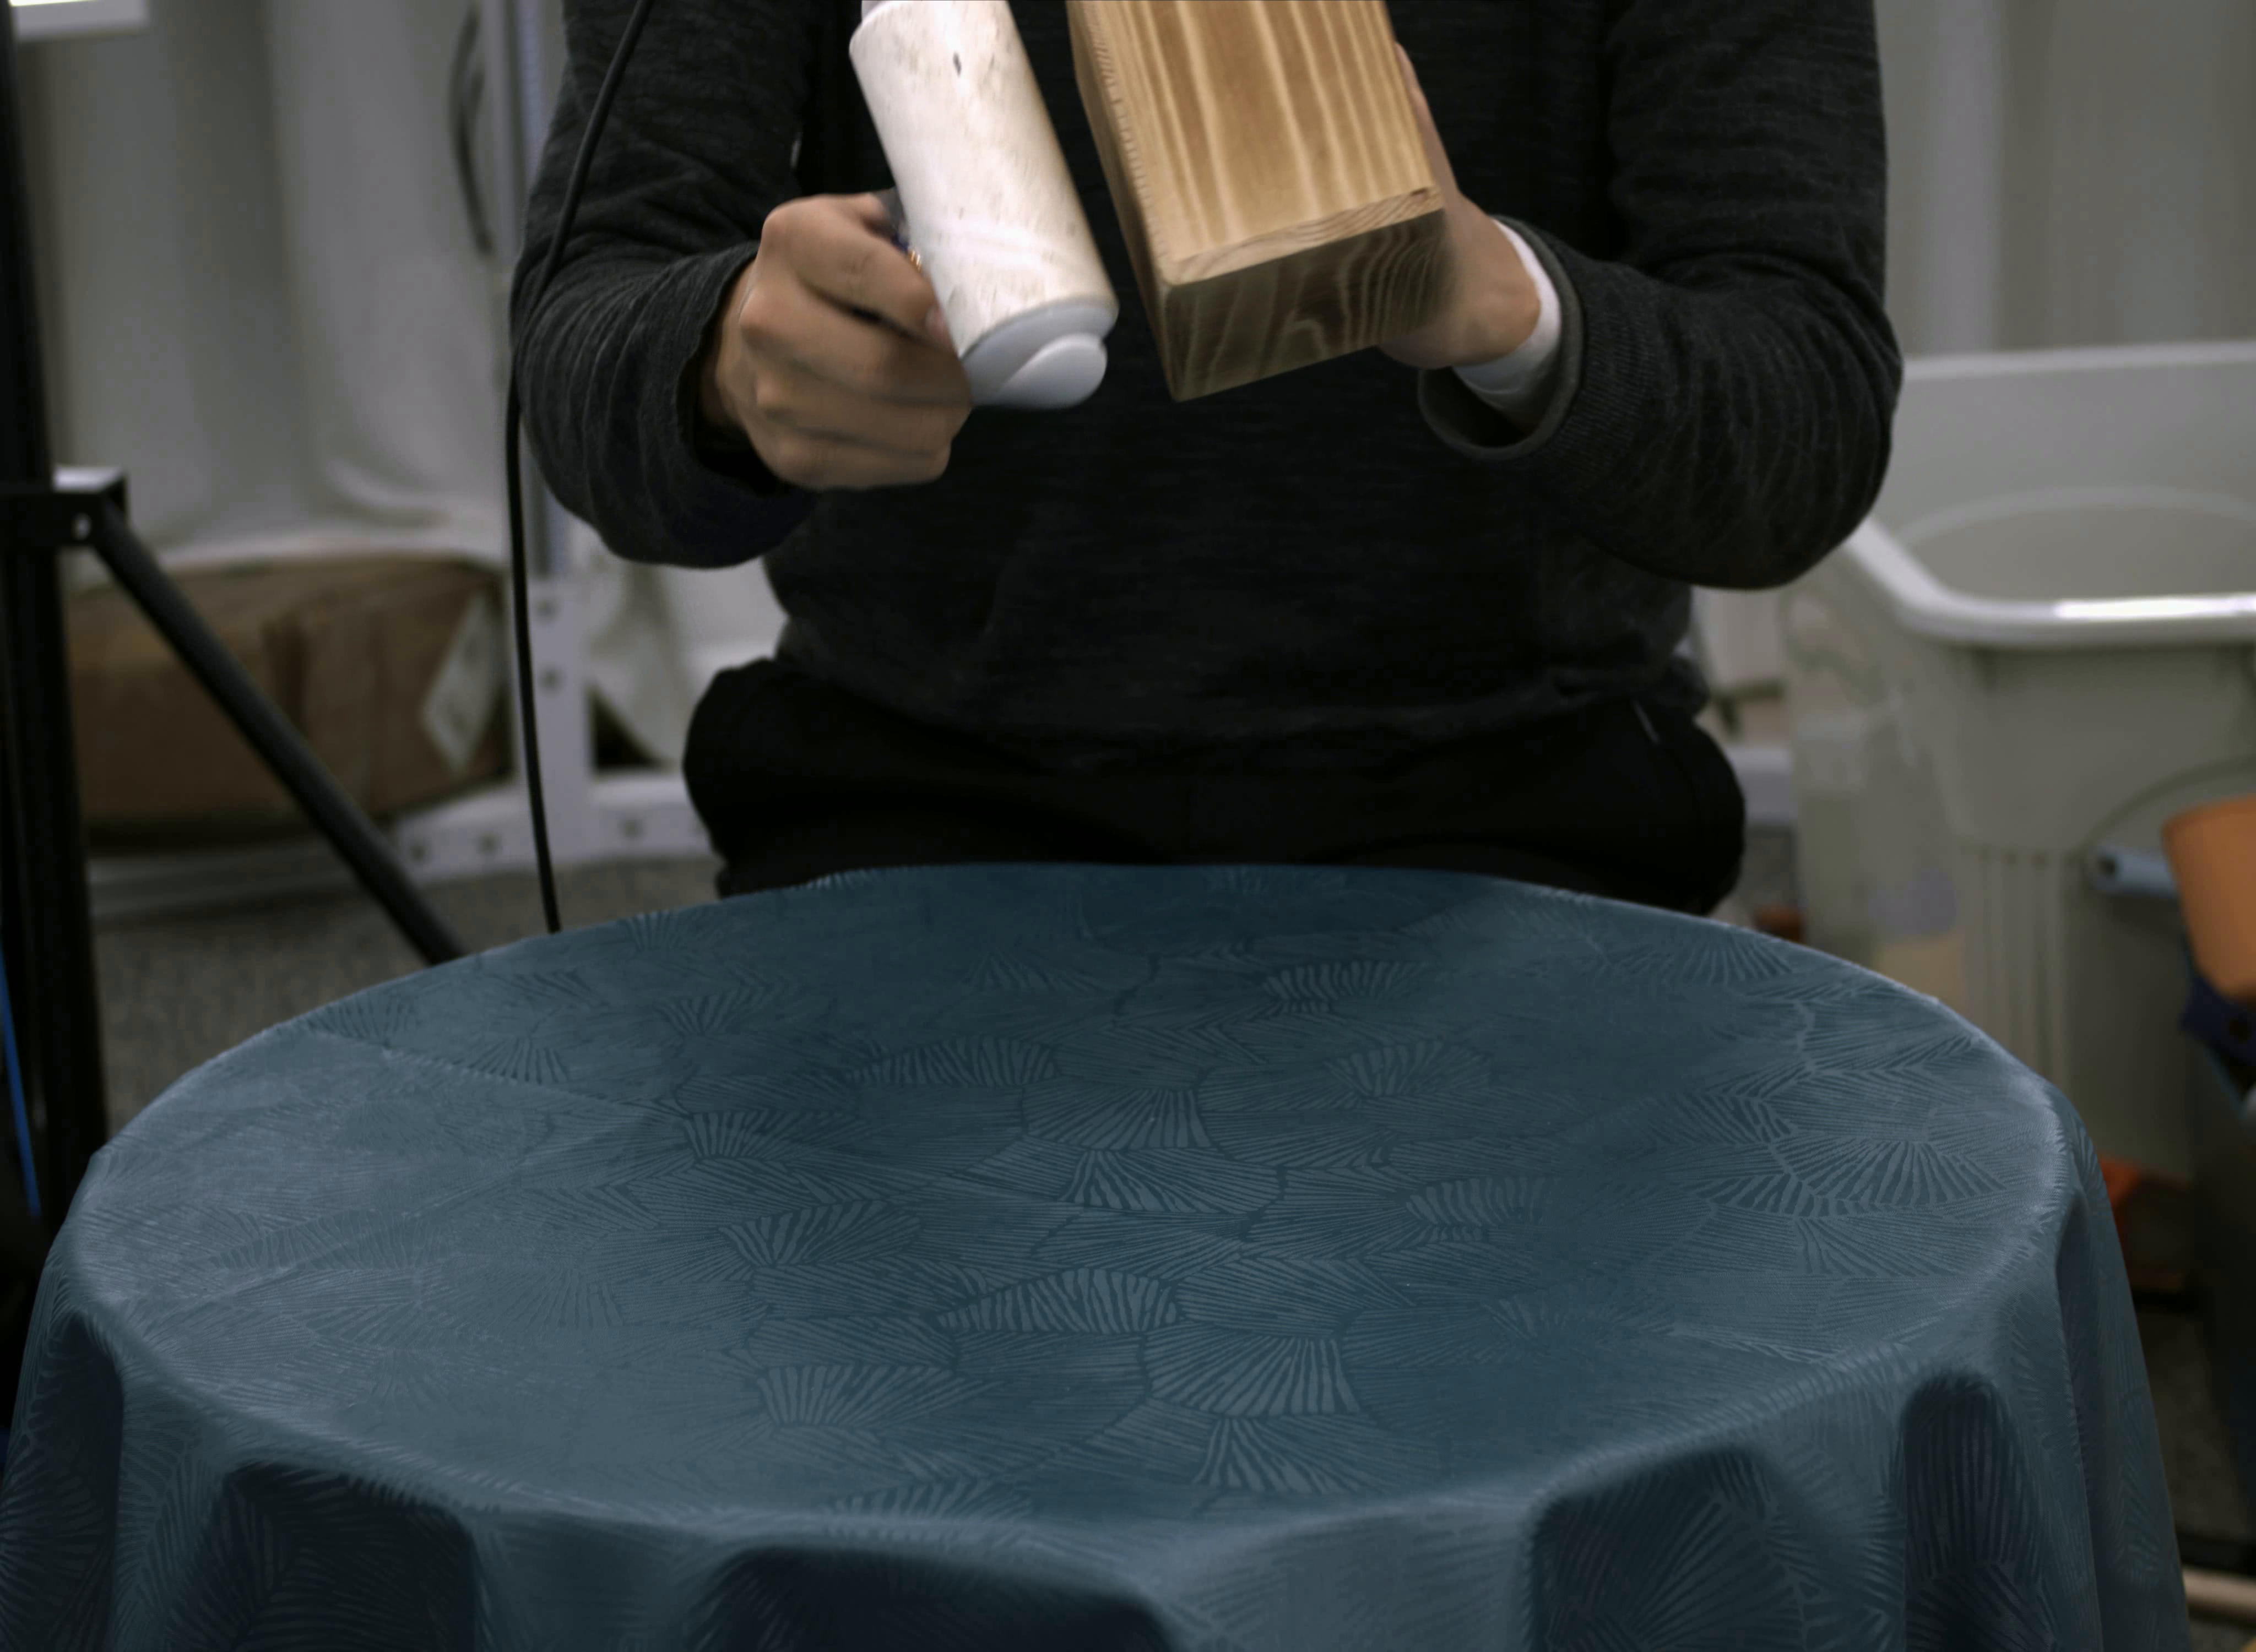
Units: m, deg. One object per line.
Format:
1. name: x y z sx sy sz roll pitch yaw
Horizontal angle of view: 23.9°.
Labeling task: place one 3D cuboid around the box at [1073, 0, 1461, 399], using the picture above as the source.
1. box: 0.036 -0.199 1.524 0.080 0.108 0.211 -16 -4 -1

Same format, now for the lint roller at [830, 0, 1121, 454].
1. lint roller: -0.065 -0.153 1.526 0.049 0.134 0.183 -10 -16 -29
